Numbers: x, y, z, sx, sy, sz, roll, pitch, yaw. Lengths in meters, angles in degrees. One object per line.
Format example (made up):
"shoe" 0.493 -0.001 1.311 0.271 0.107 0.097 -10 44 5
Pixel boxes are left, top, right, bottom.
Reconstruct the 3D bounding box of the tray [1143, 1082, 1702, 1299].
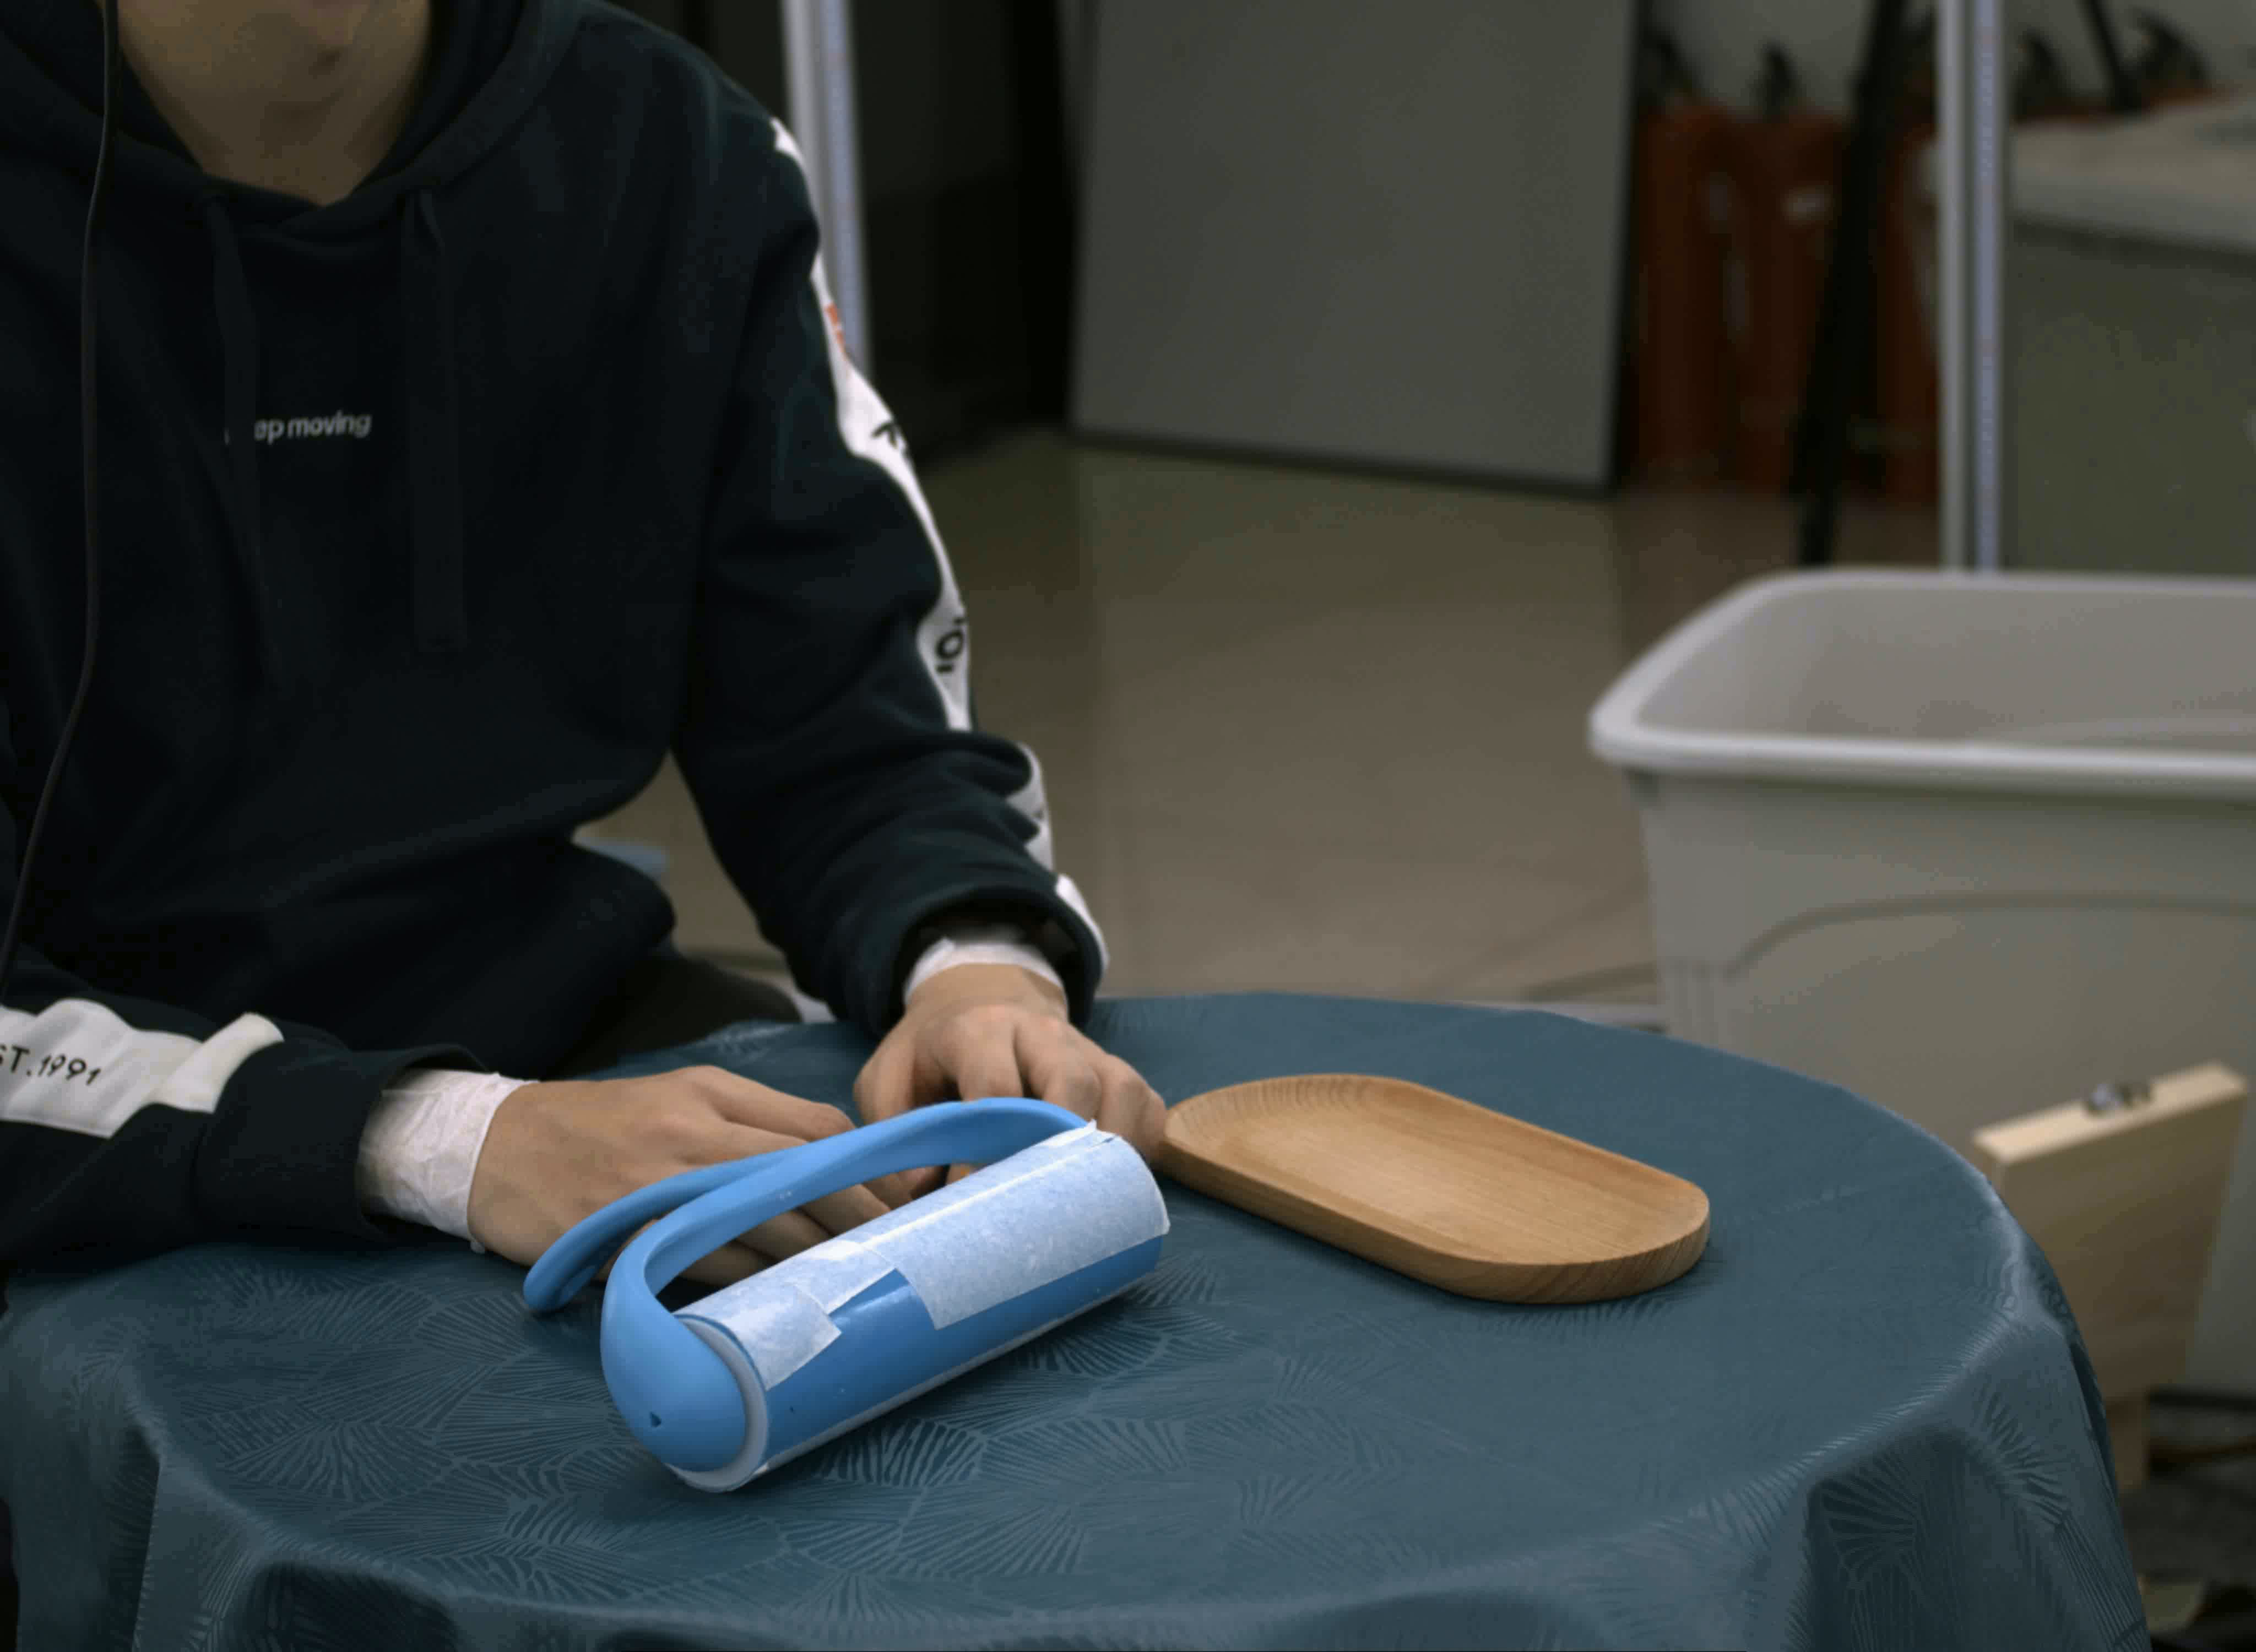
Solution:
"tray" 0.093 0.116 1.732 0.099 0.020 0.233 -12 14 -33

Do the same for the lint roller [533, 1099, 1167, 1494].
"lint roller" -0.113 0.134 1.631 0.181 0.068 0.225 6 19 34
